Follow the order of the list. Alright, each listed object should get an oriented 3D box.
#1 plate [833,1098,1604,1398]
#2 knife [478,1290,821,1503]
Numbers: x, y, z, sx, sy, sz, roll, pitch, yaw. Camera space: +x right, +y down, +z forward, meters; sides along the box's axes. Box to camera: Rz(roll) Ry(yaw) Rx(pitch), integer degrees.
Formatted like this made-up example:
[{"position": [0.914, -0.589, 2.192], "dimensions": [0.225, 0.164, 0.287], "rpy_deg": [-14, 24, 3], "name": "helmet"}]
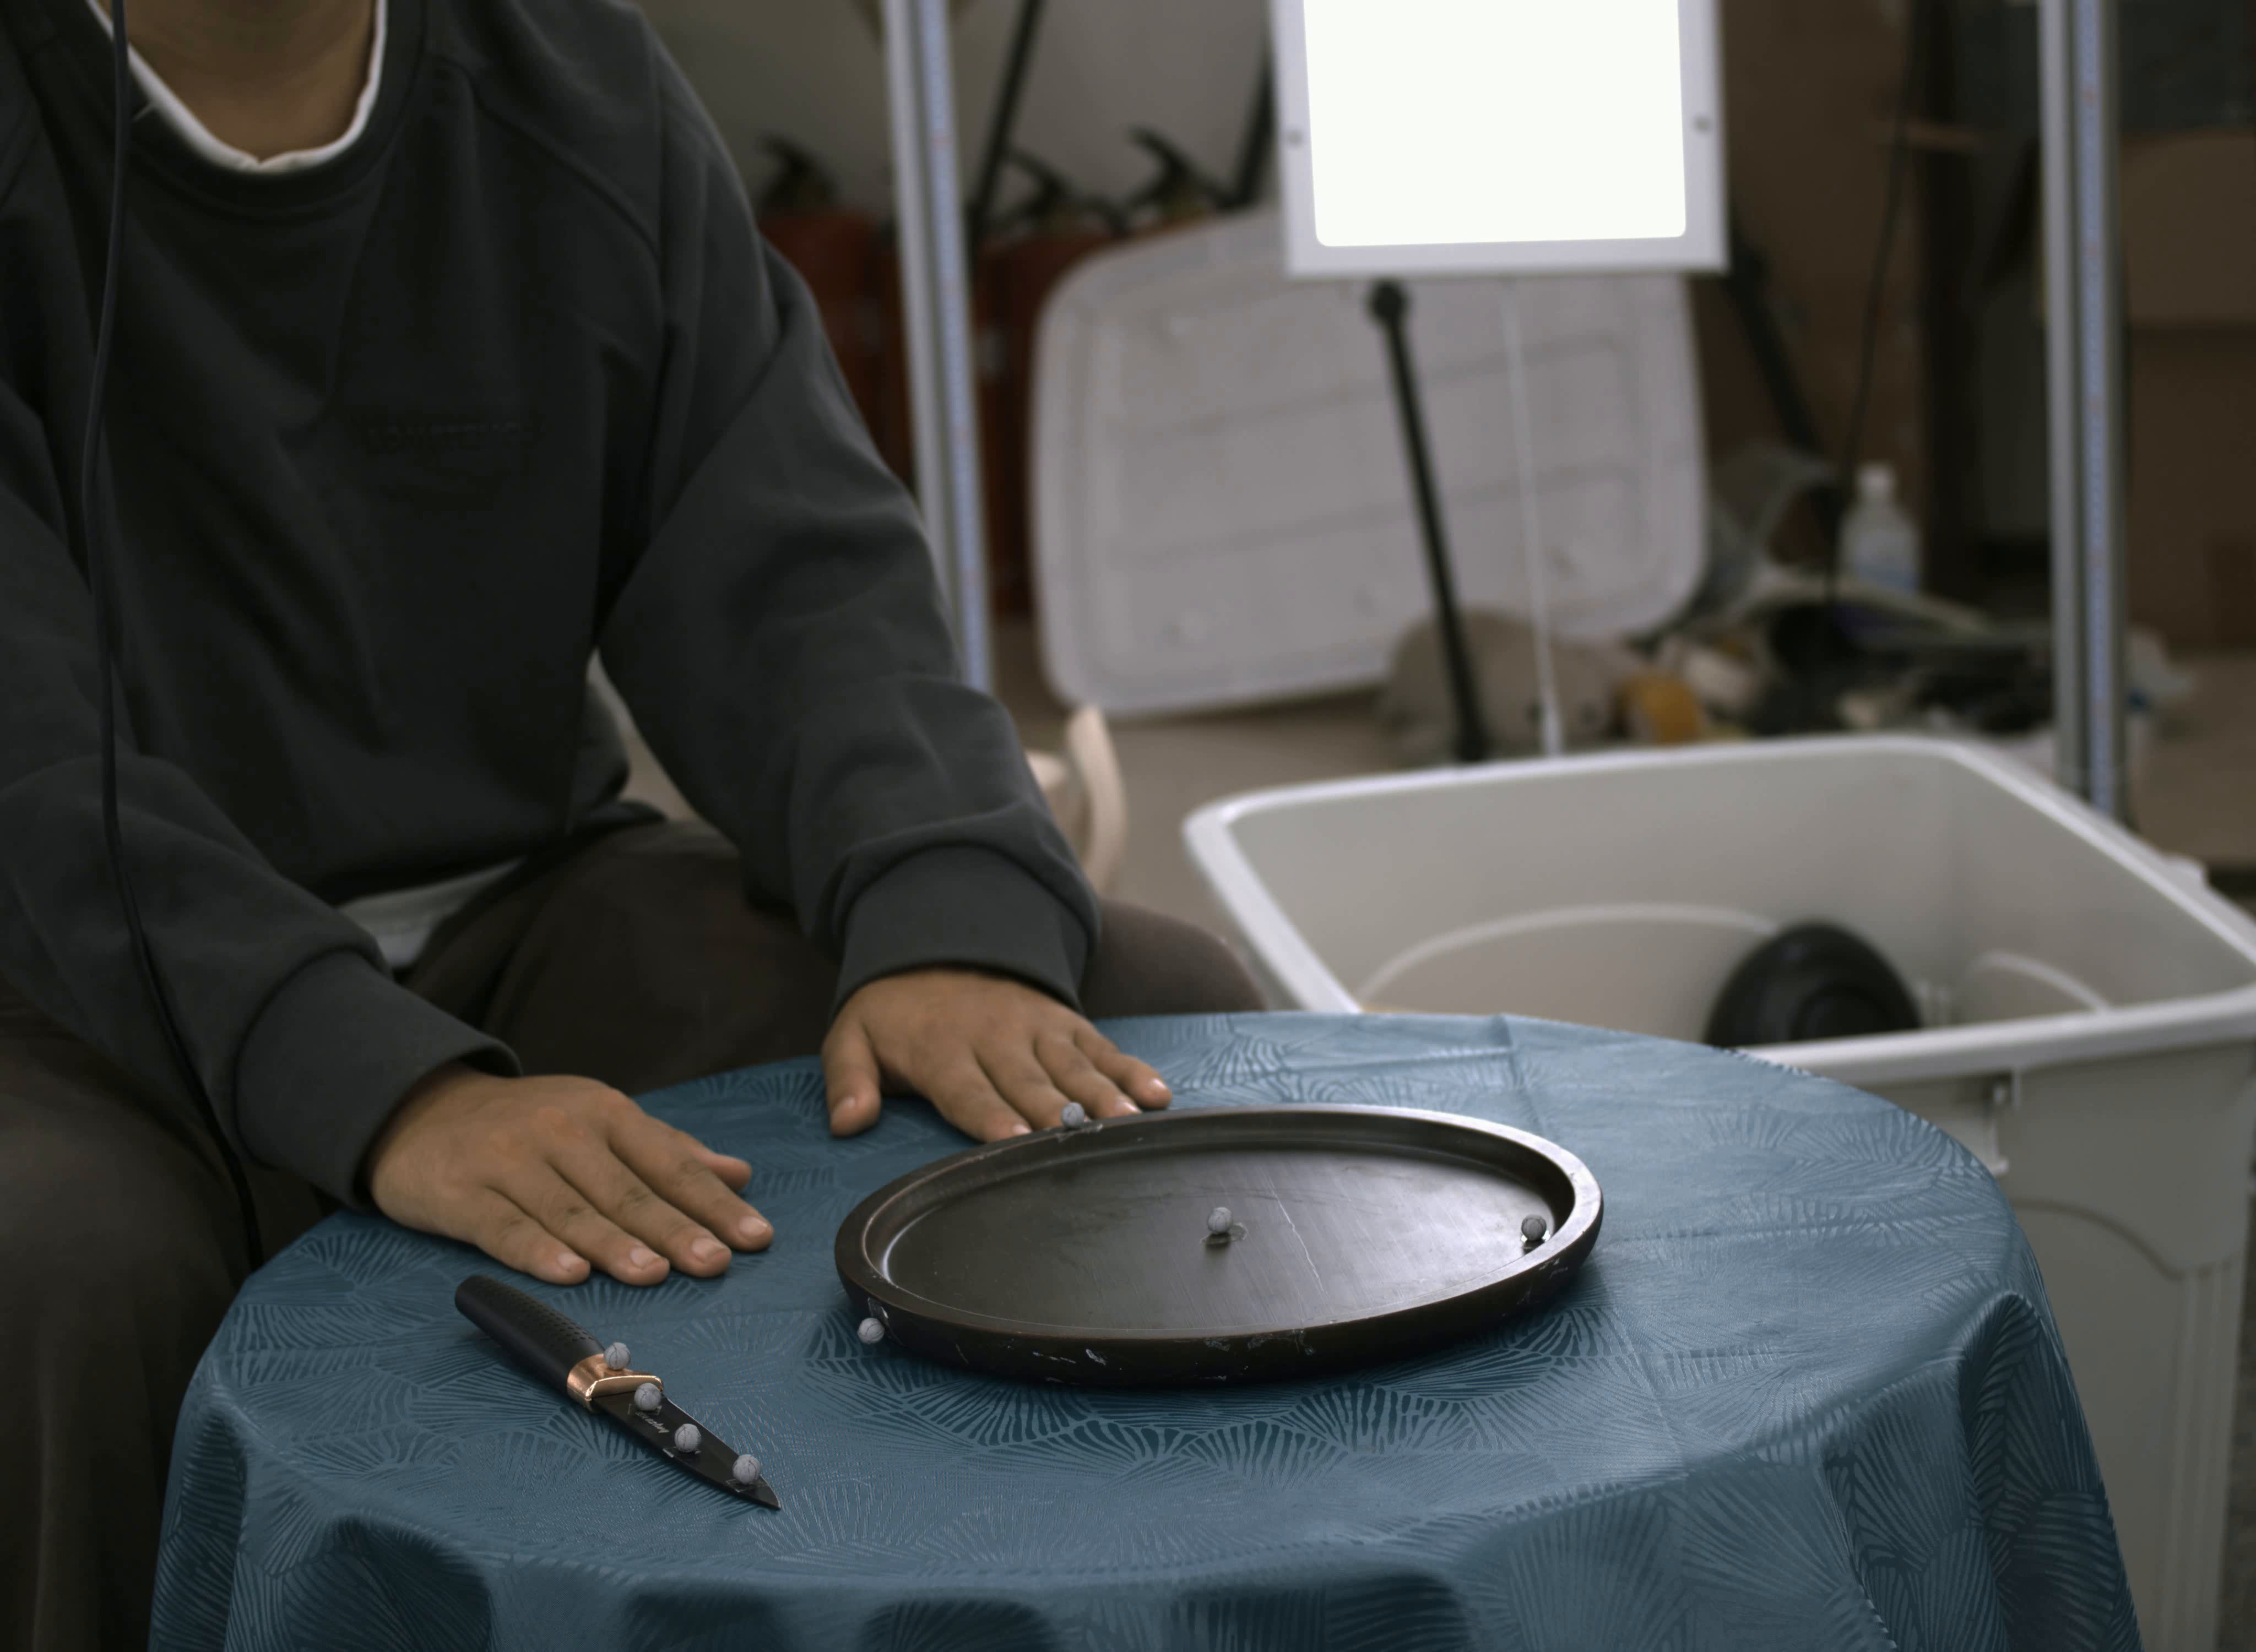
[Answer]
[{"position": [0.030, 0.136, 1.801], "dimensions": [0.254, 0.029, 0.254], "rpy_deg": [-6, 13, 0], "name": "plate"}, {"position": [-0.152, 0.178, 1.718], "dimensions": [0.025, 0.017, 0.229], "rpy_deg": [-6, 13, -28], "name": "knife"}]
